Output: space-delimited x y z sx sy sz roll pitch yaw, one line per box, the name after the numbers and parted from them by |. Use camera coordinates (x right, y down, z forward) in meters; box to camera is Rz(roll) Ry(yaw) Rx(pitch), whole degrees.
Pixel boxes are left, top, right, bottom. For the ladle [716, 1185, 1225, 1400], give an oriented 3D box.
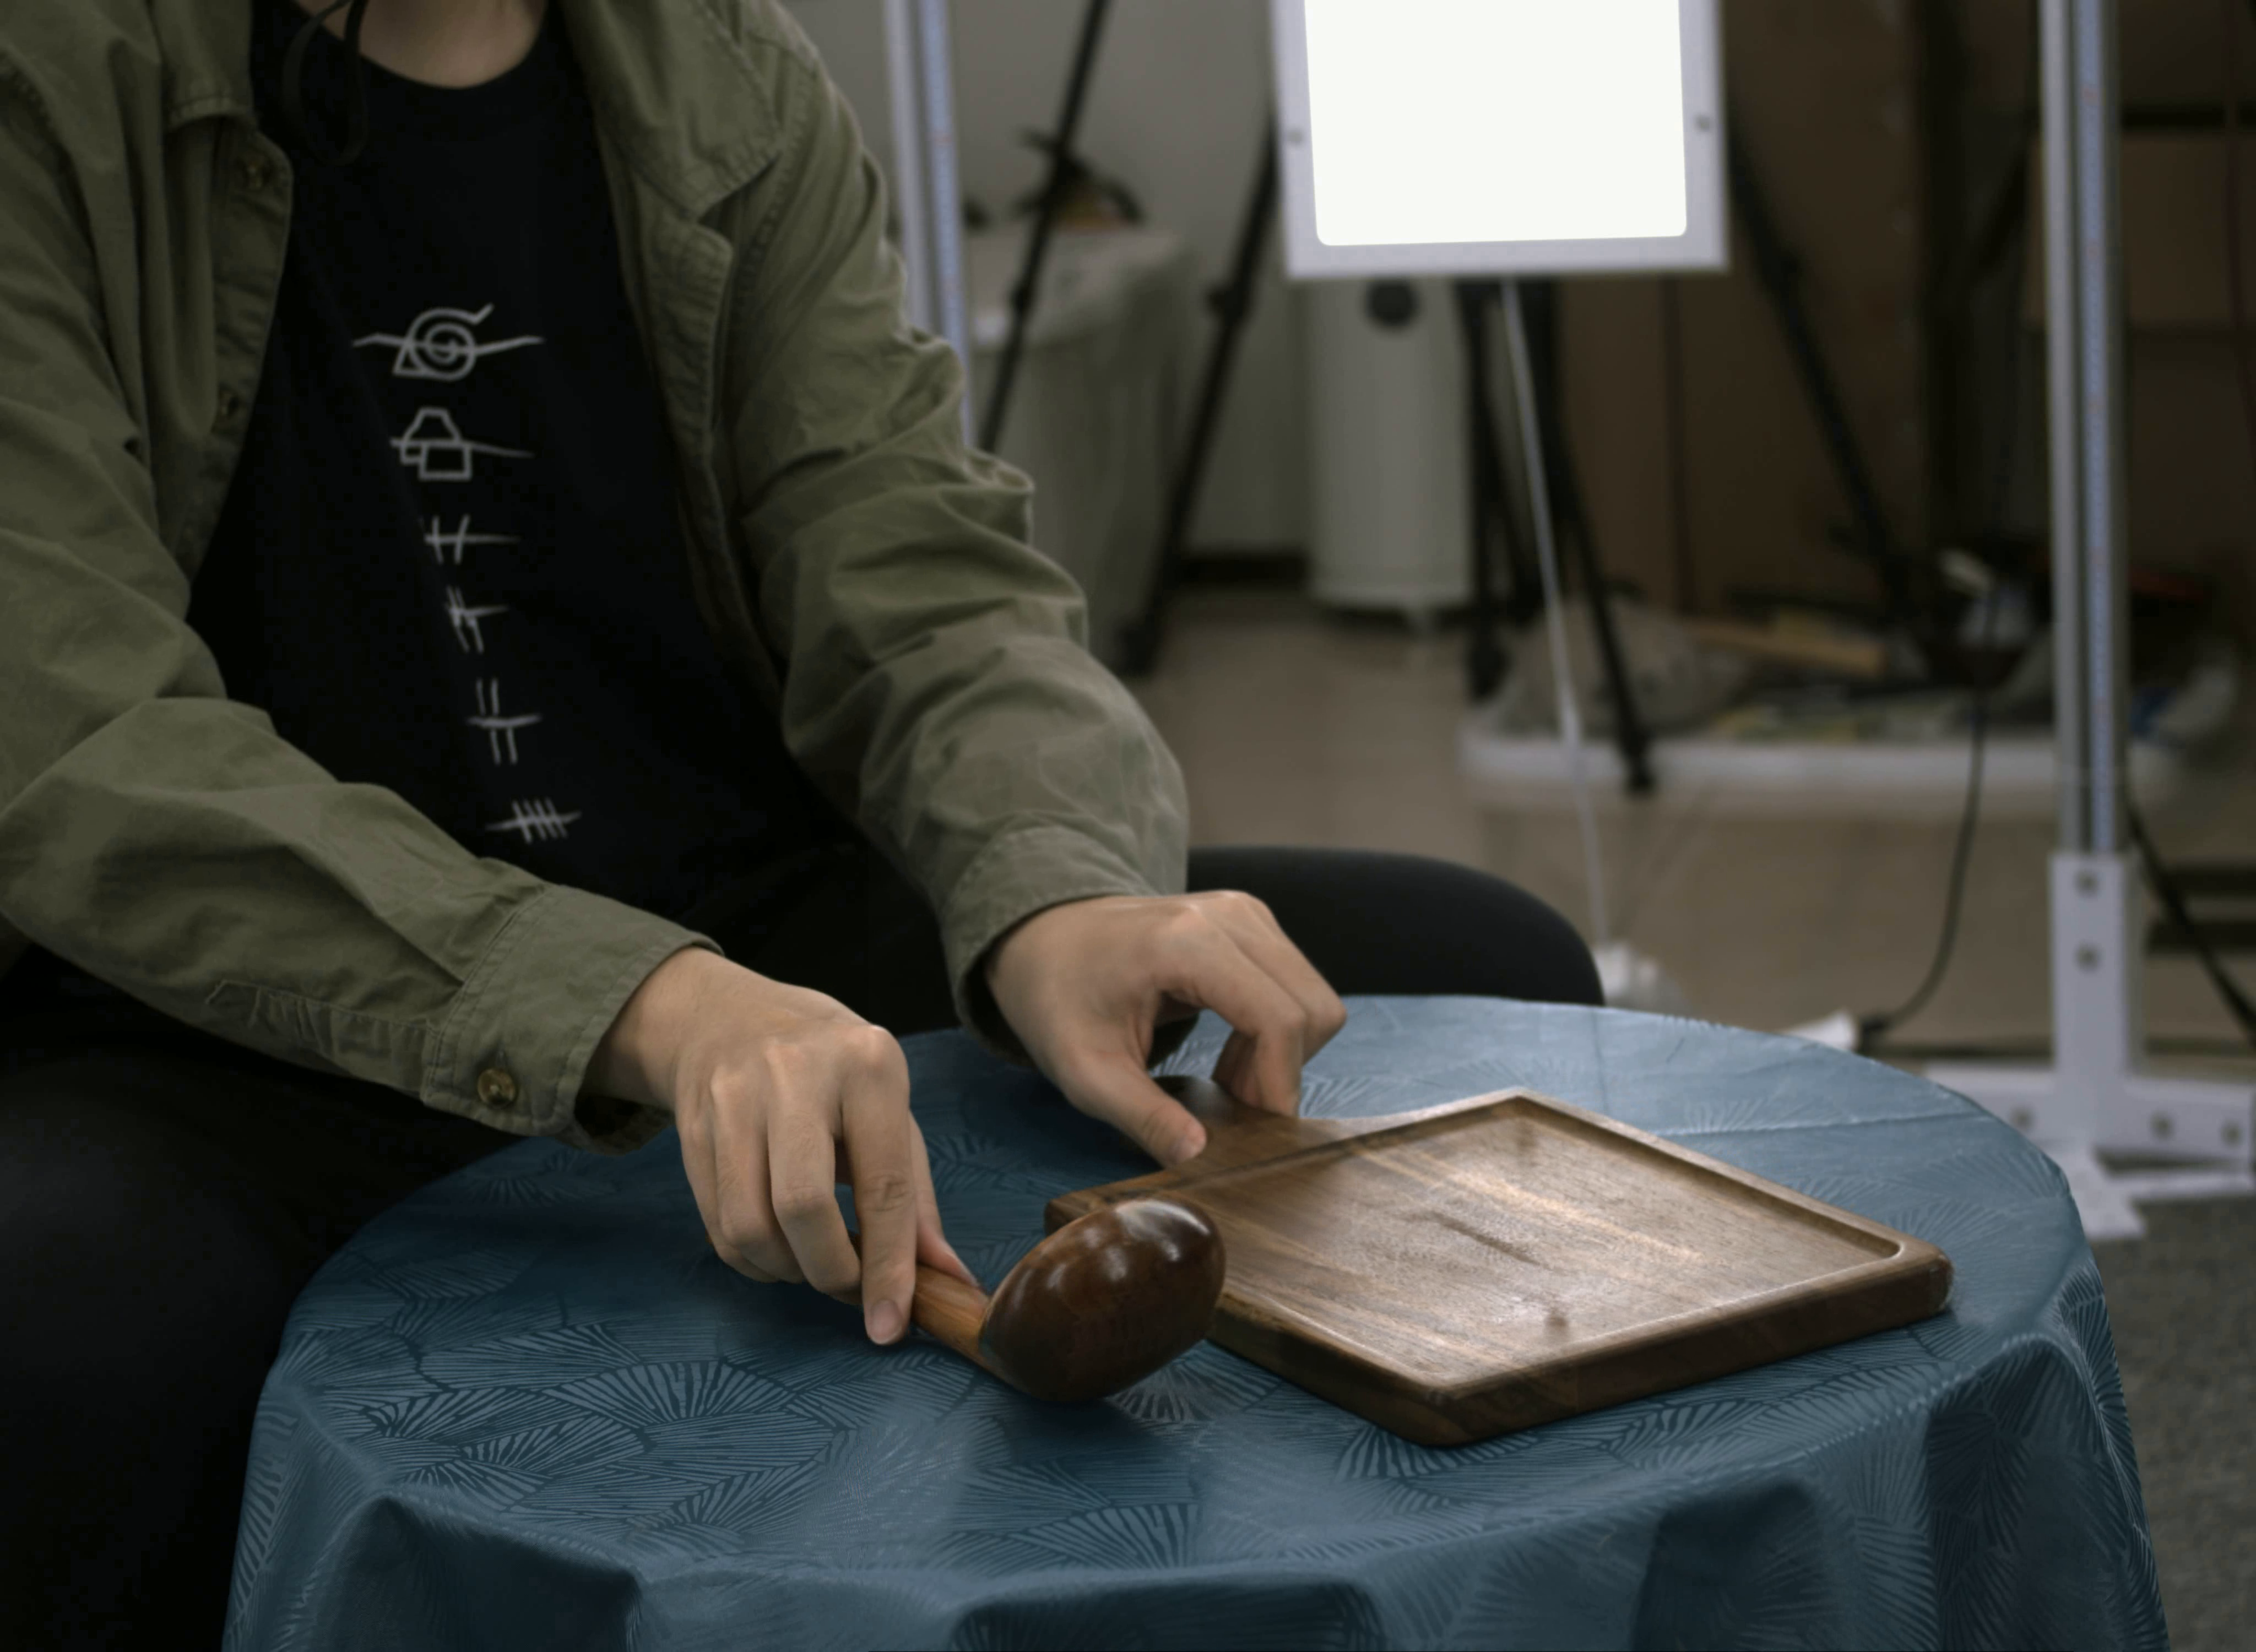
-0.063 0.127 1.754 0.080 0.077 0.279 -4 11 -31 | ladle

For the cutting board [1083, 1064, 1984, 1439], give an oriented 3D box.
0.104 0.126 1.811 0.197 0.023 0.358 -11 15 -25 | cutting board
